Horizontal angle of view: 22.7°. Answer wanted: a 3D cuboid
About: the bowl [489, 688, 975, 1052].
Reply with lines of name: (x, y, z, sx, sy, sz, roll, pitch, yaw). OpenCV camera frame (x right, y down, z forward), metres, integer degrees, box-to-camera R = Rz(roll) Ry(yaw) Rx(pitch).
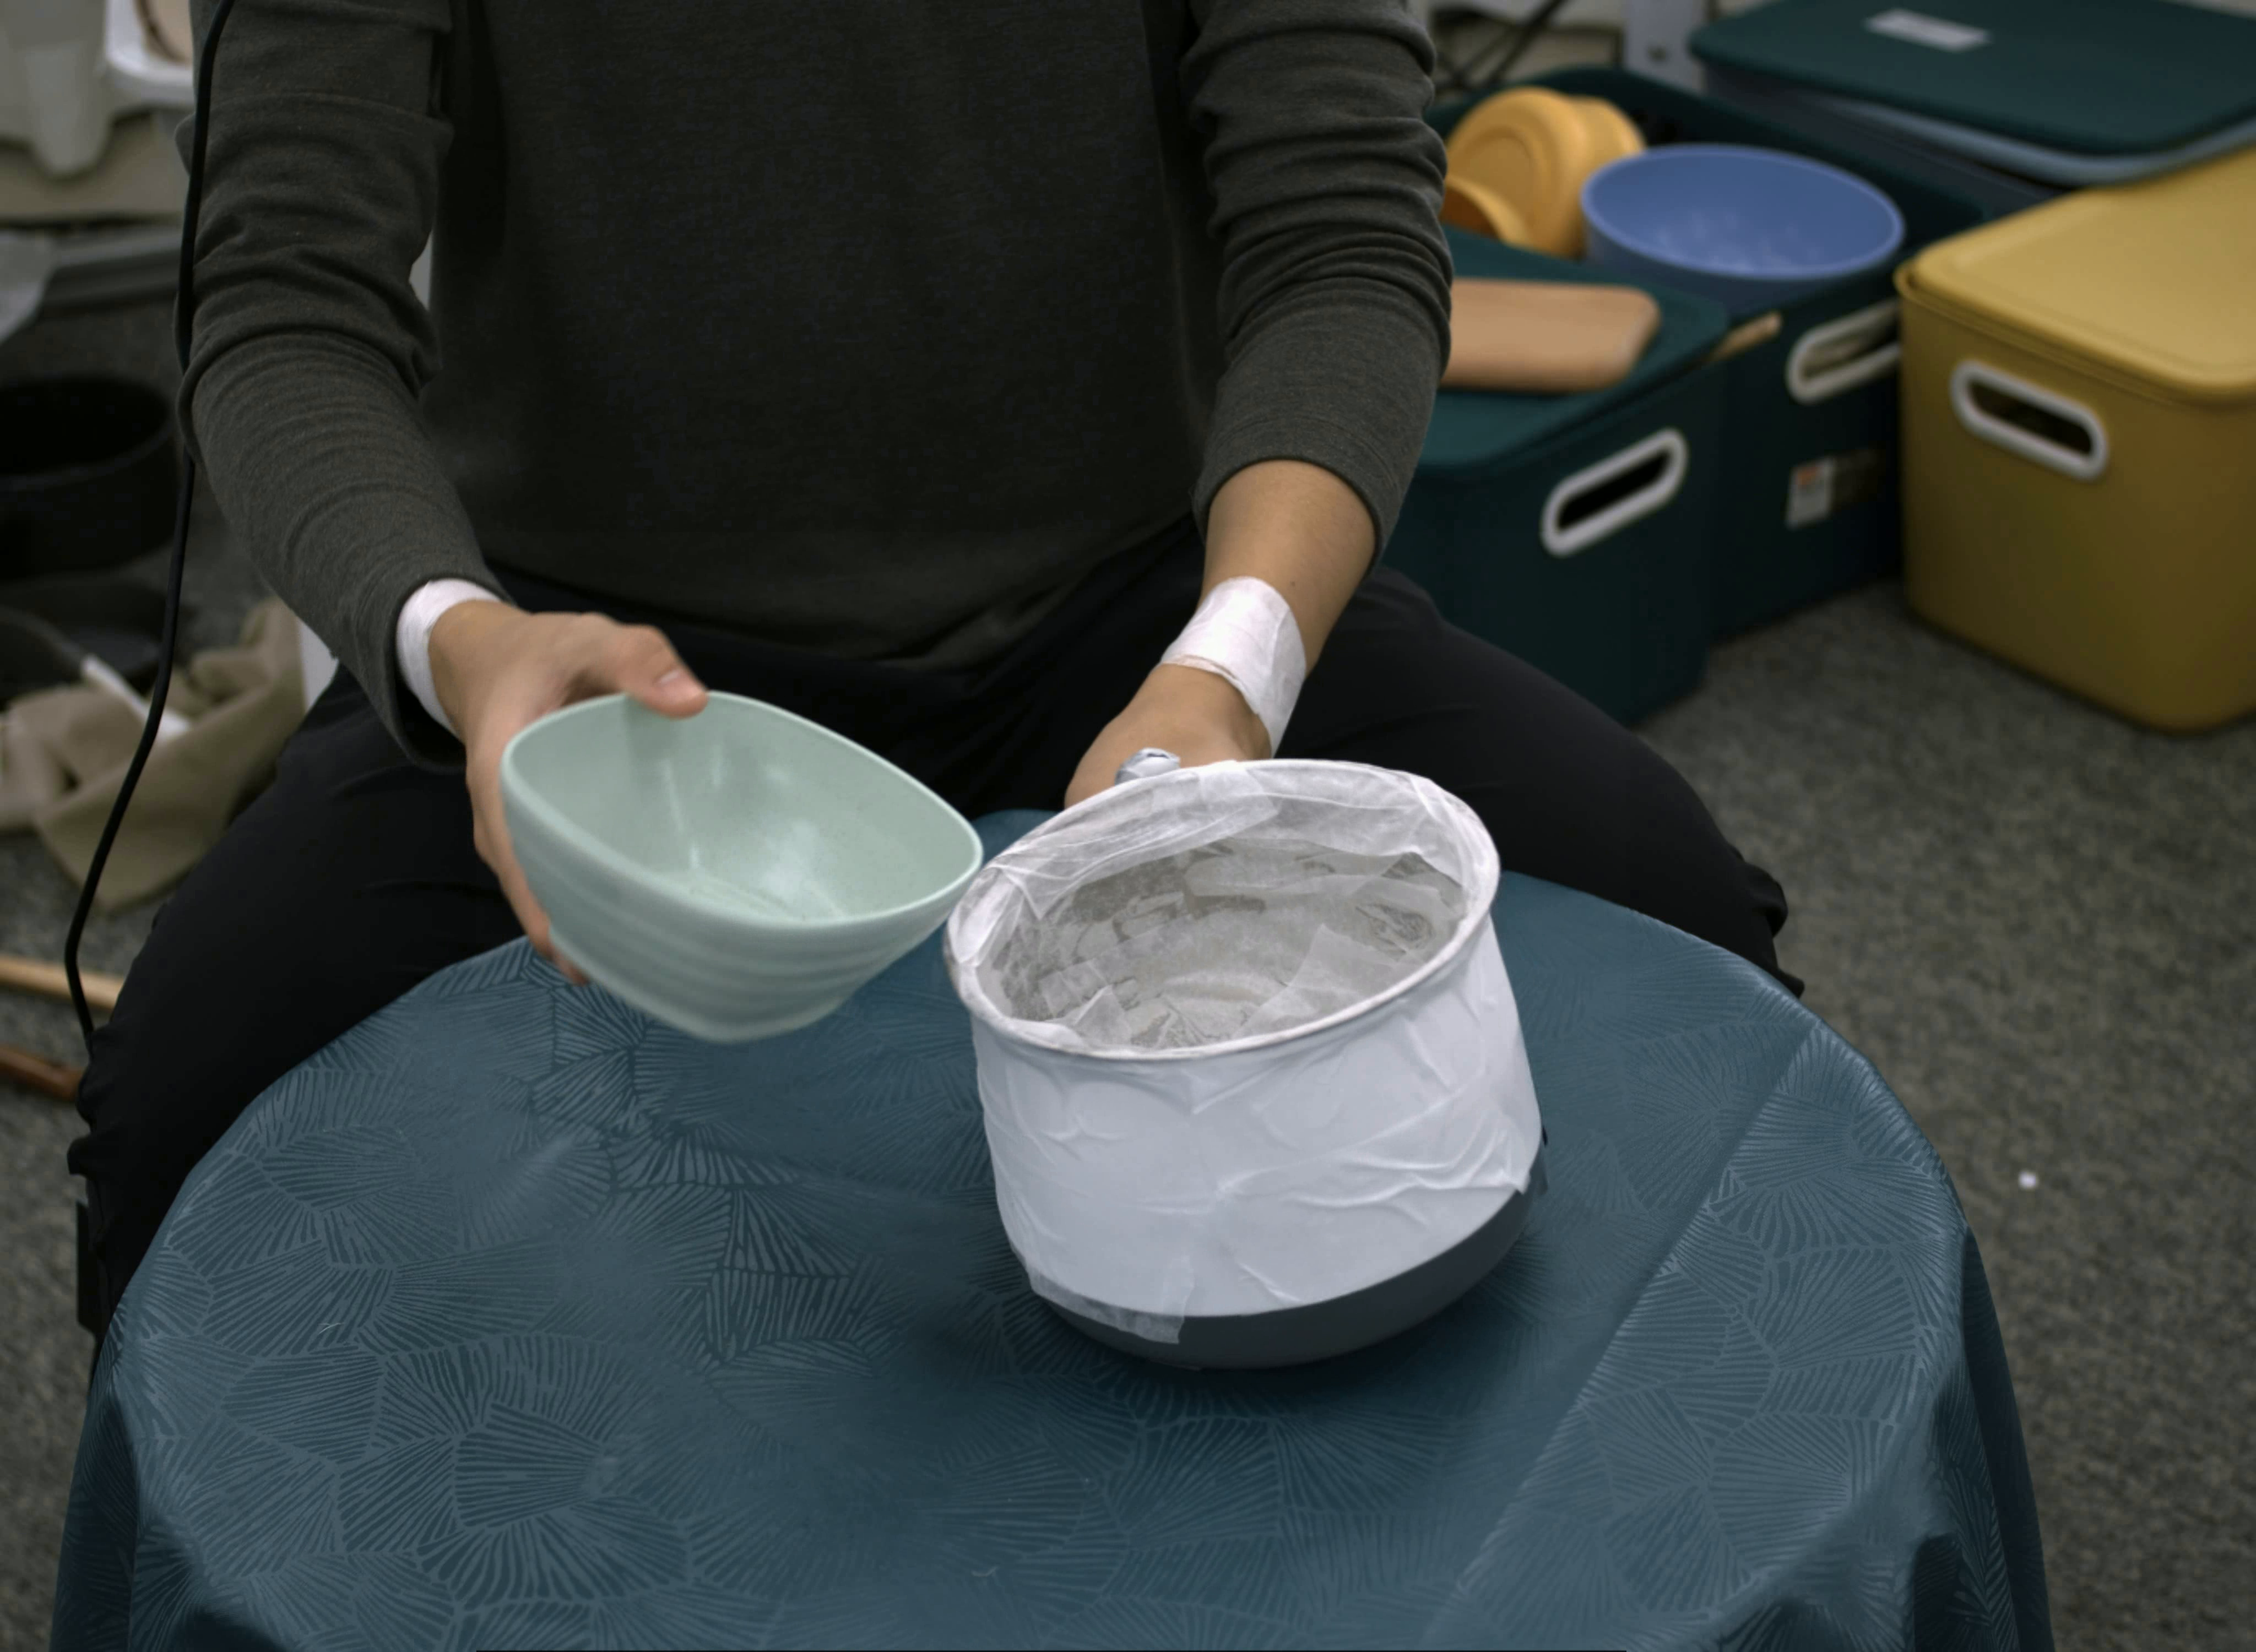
bowl: (-0.126, 0.019, 1.725, 0.151, 0.058, 0.154, 13, 27, -6)

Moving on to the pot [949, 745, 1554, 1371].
pot: (0.034, 0.066, 1.807, 0.178, 0.135, 0.236, -14, 28, -8)
